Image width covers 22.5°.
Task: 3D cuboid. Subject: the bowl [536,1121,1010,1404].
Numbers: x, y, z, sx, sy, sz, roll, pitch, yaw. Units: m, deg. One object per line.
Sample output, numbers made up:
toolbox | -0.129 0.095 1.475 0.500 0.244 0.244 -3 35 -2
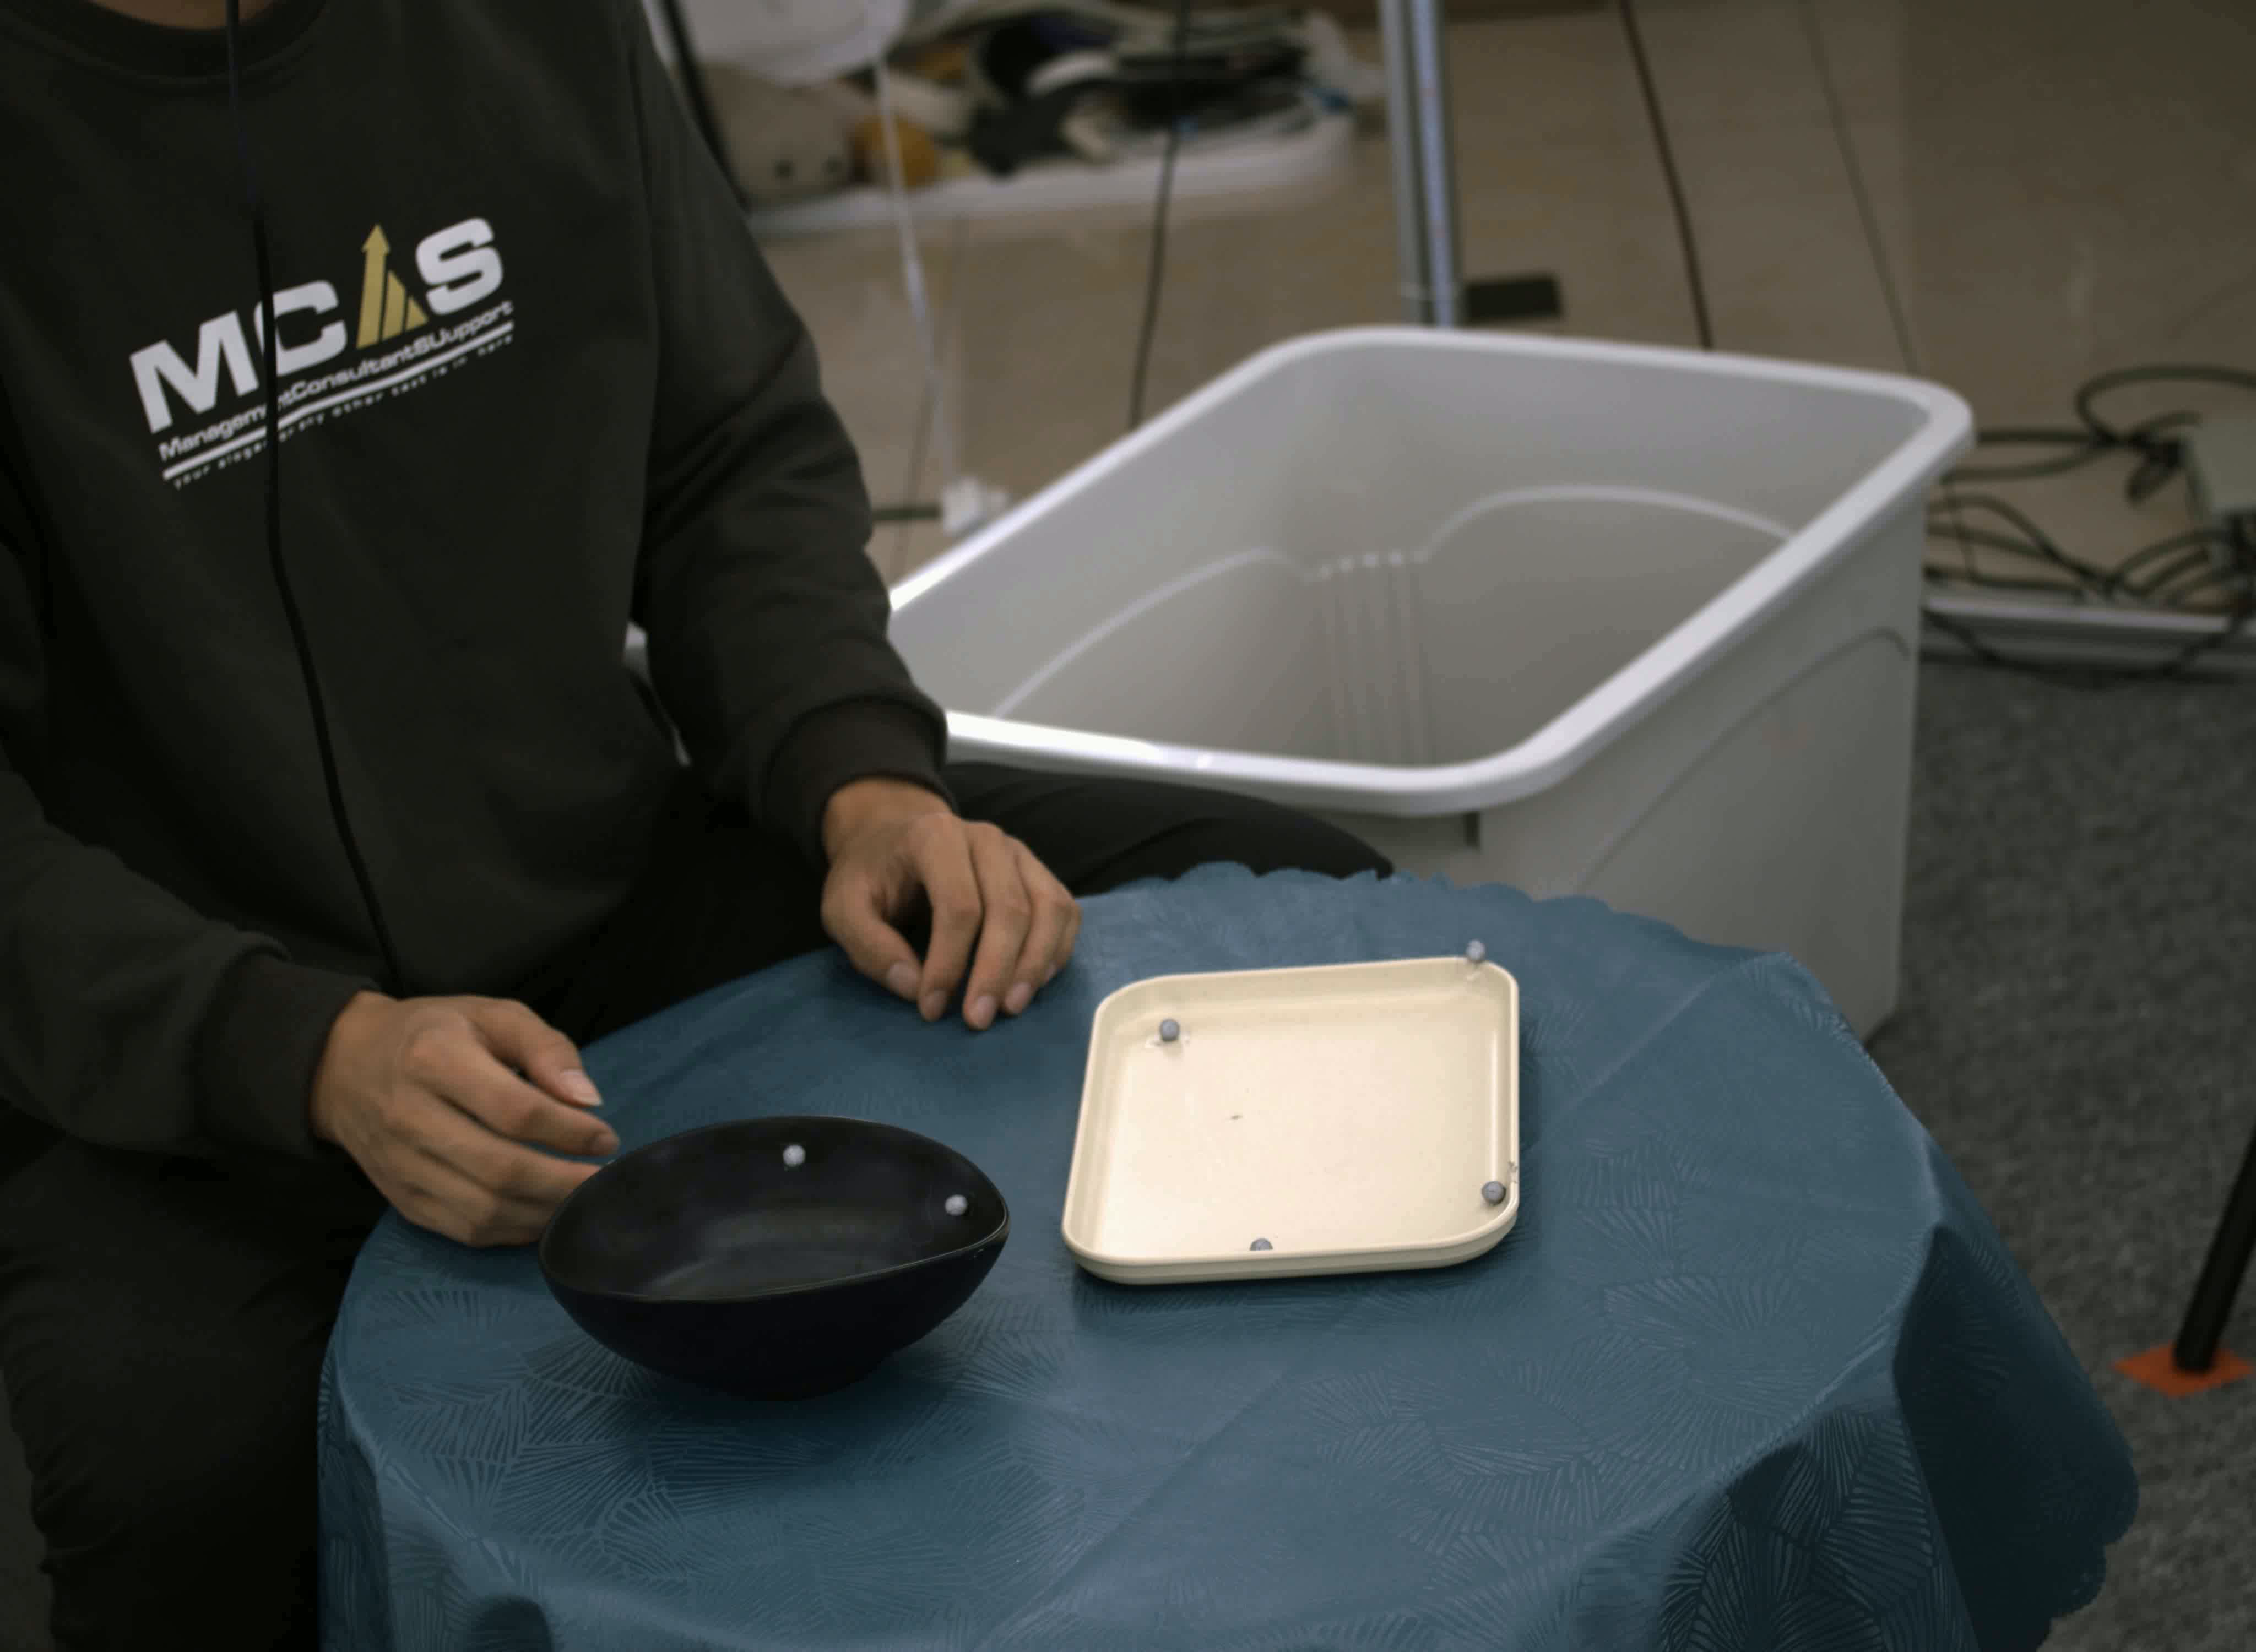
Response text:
bowl | -0.126 0.164 2.048 0.170 0.068 0.135 -6 26 -2

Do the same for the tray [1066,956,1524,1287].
tray | 0.066 0.112 2.168 0.171 0.018 0.236 -5 24 6
